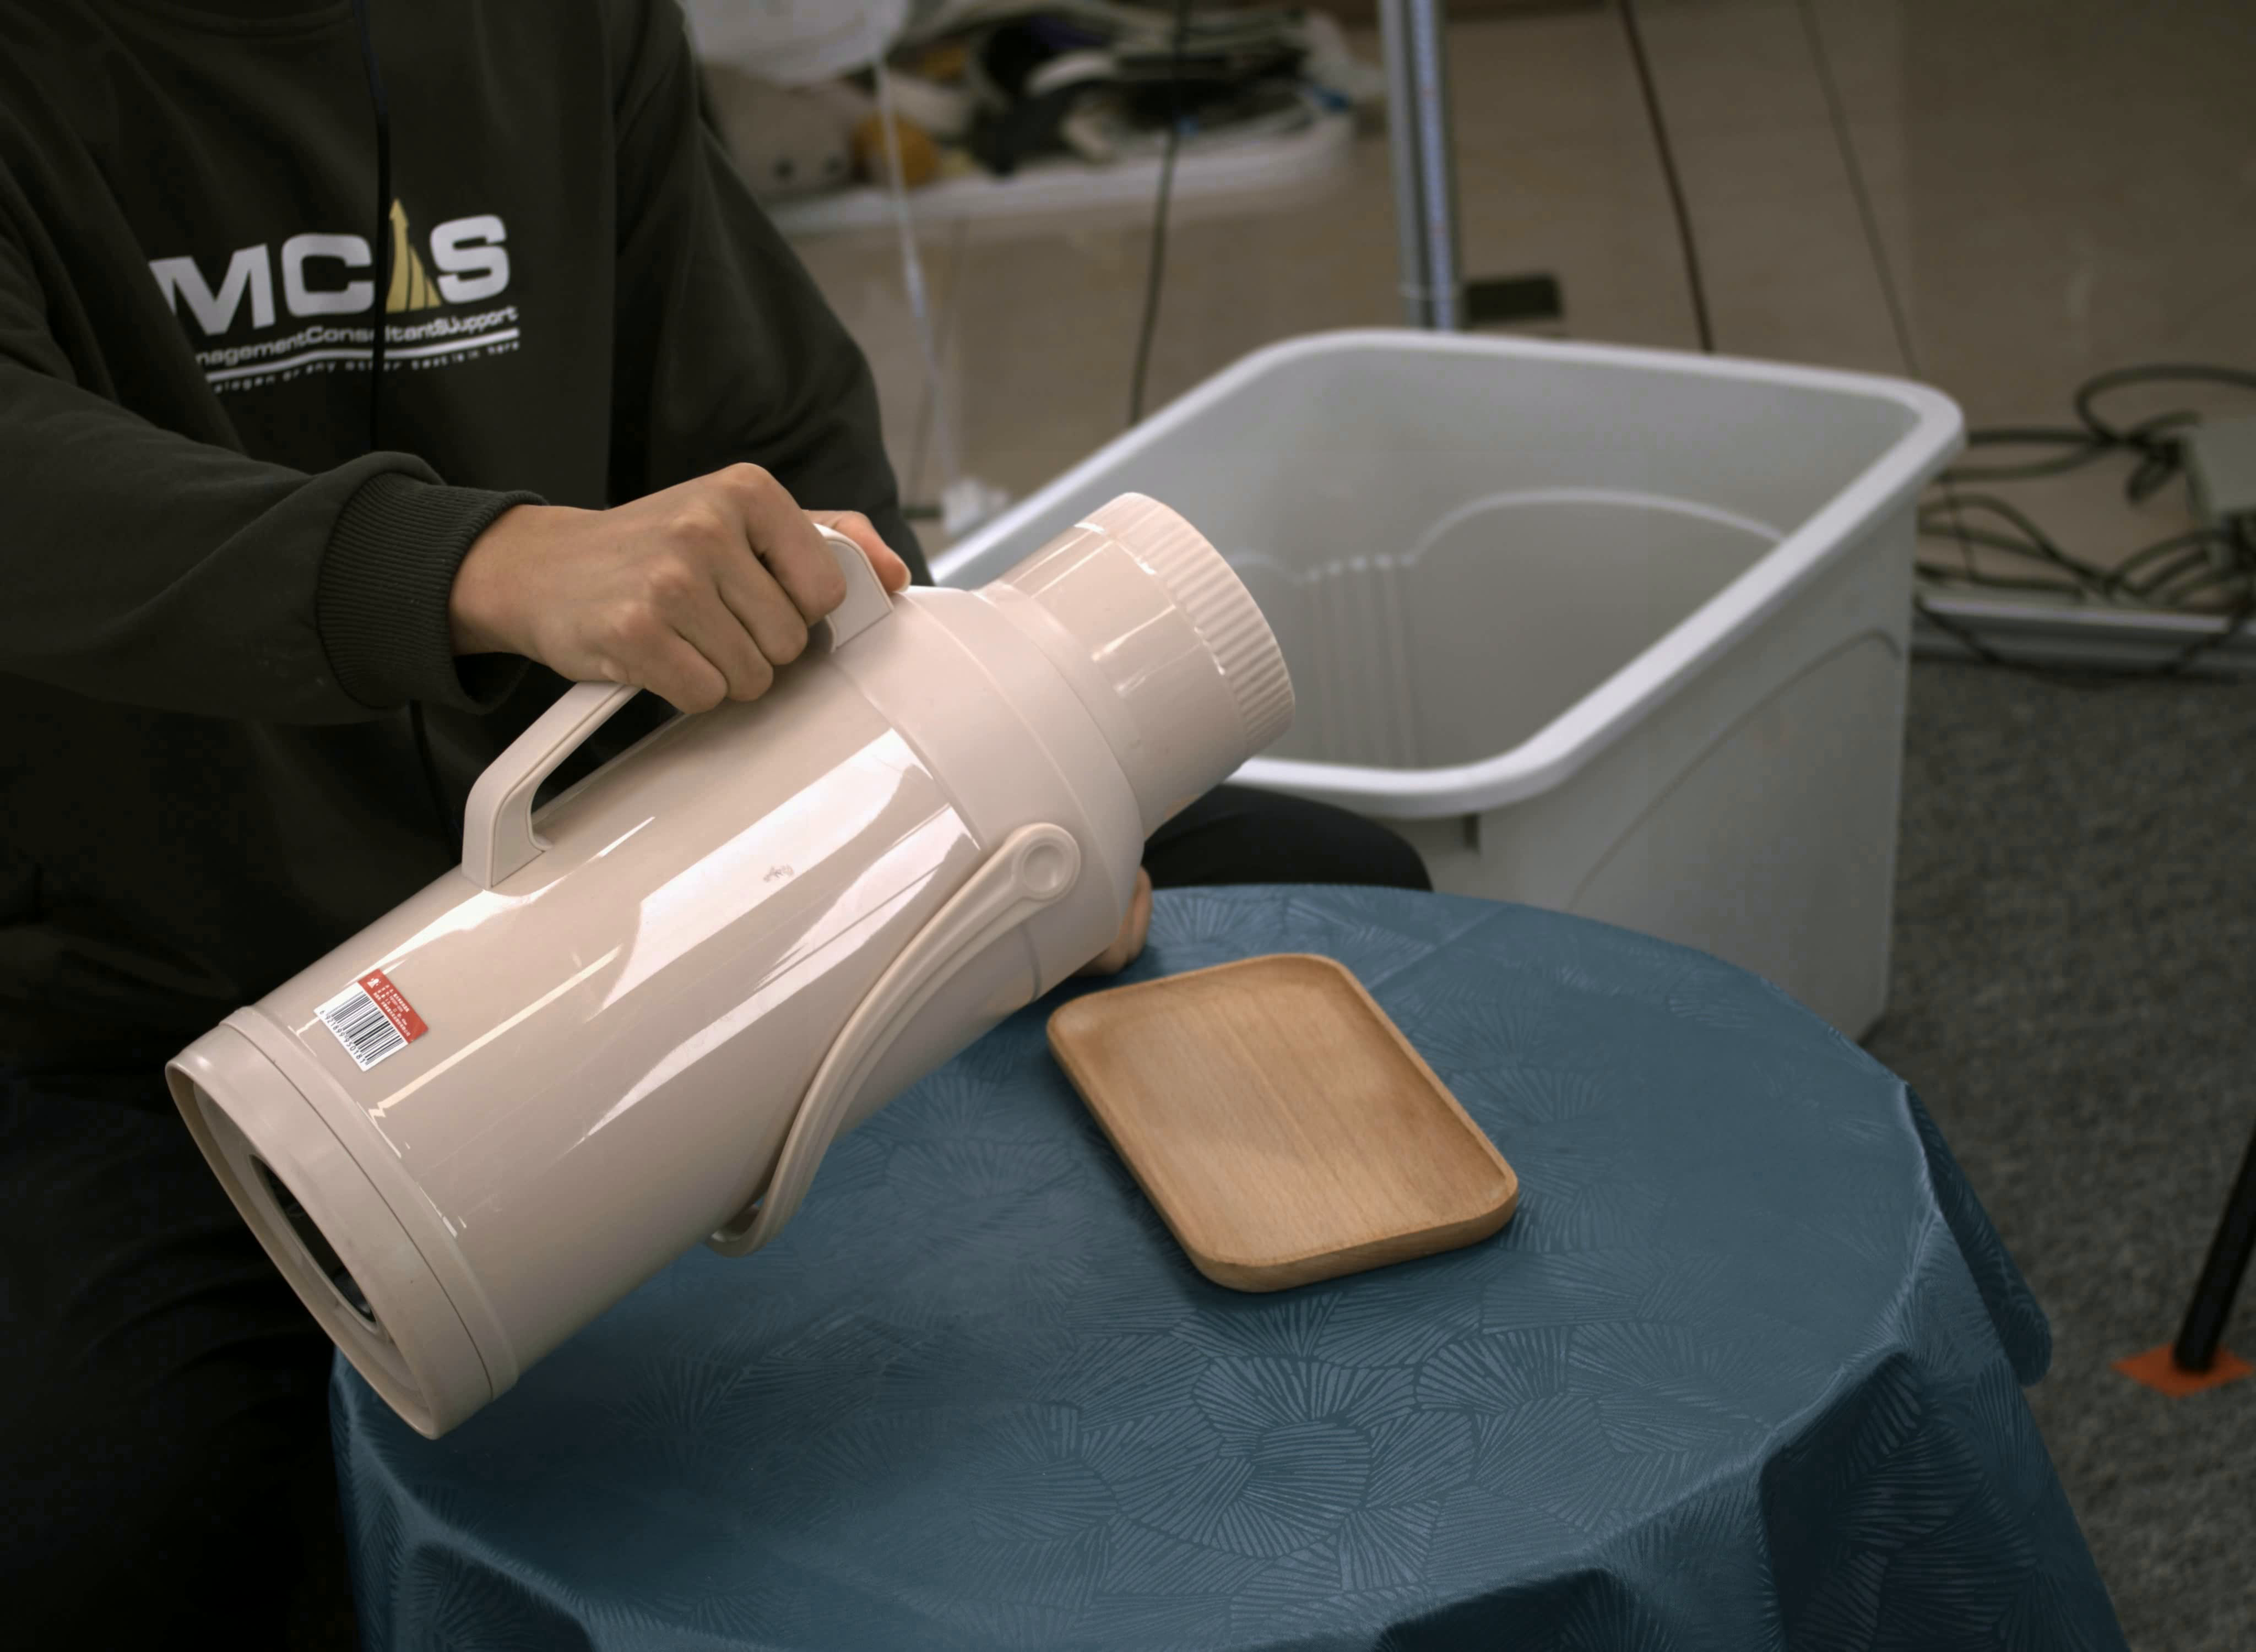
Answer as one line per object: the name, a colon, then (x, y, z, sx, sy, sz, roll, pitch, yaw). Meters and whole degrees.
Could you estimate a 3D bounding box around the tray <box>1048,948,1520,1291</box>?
tray: (0.057, 0.110, 2.176, 0.130, 0.023, 0.247, -10, 24, -13)

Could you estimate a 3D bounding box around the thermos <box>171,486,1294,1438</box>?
thermos: (-0.135, 0.022, 1.979, 0.404, 0.210, 0.173, -36, 30, -14)
